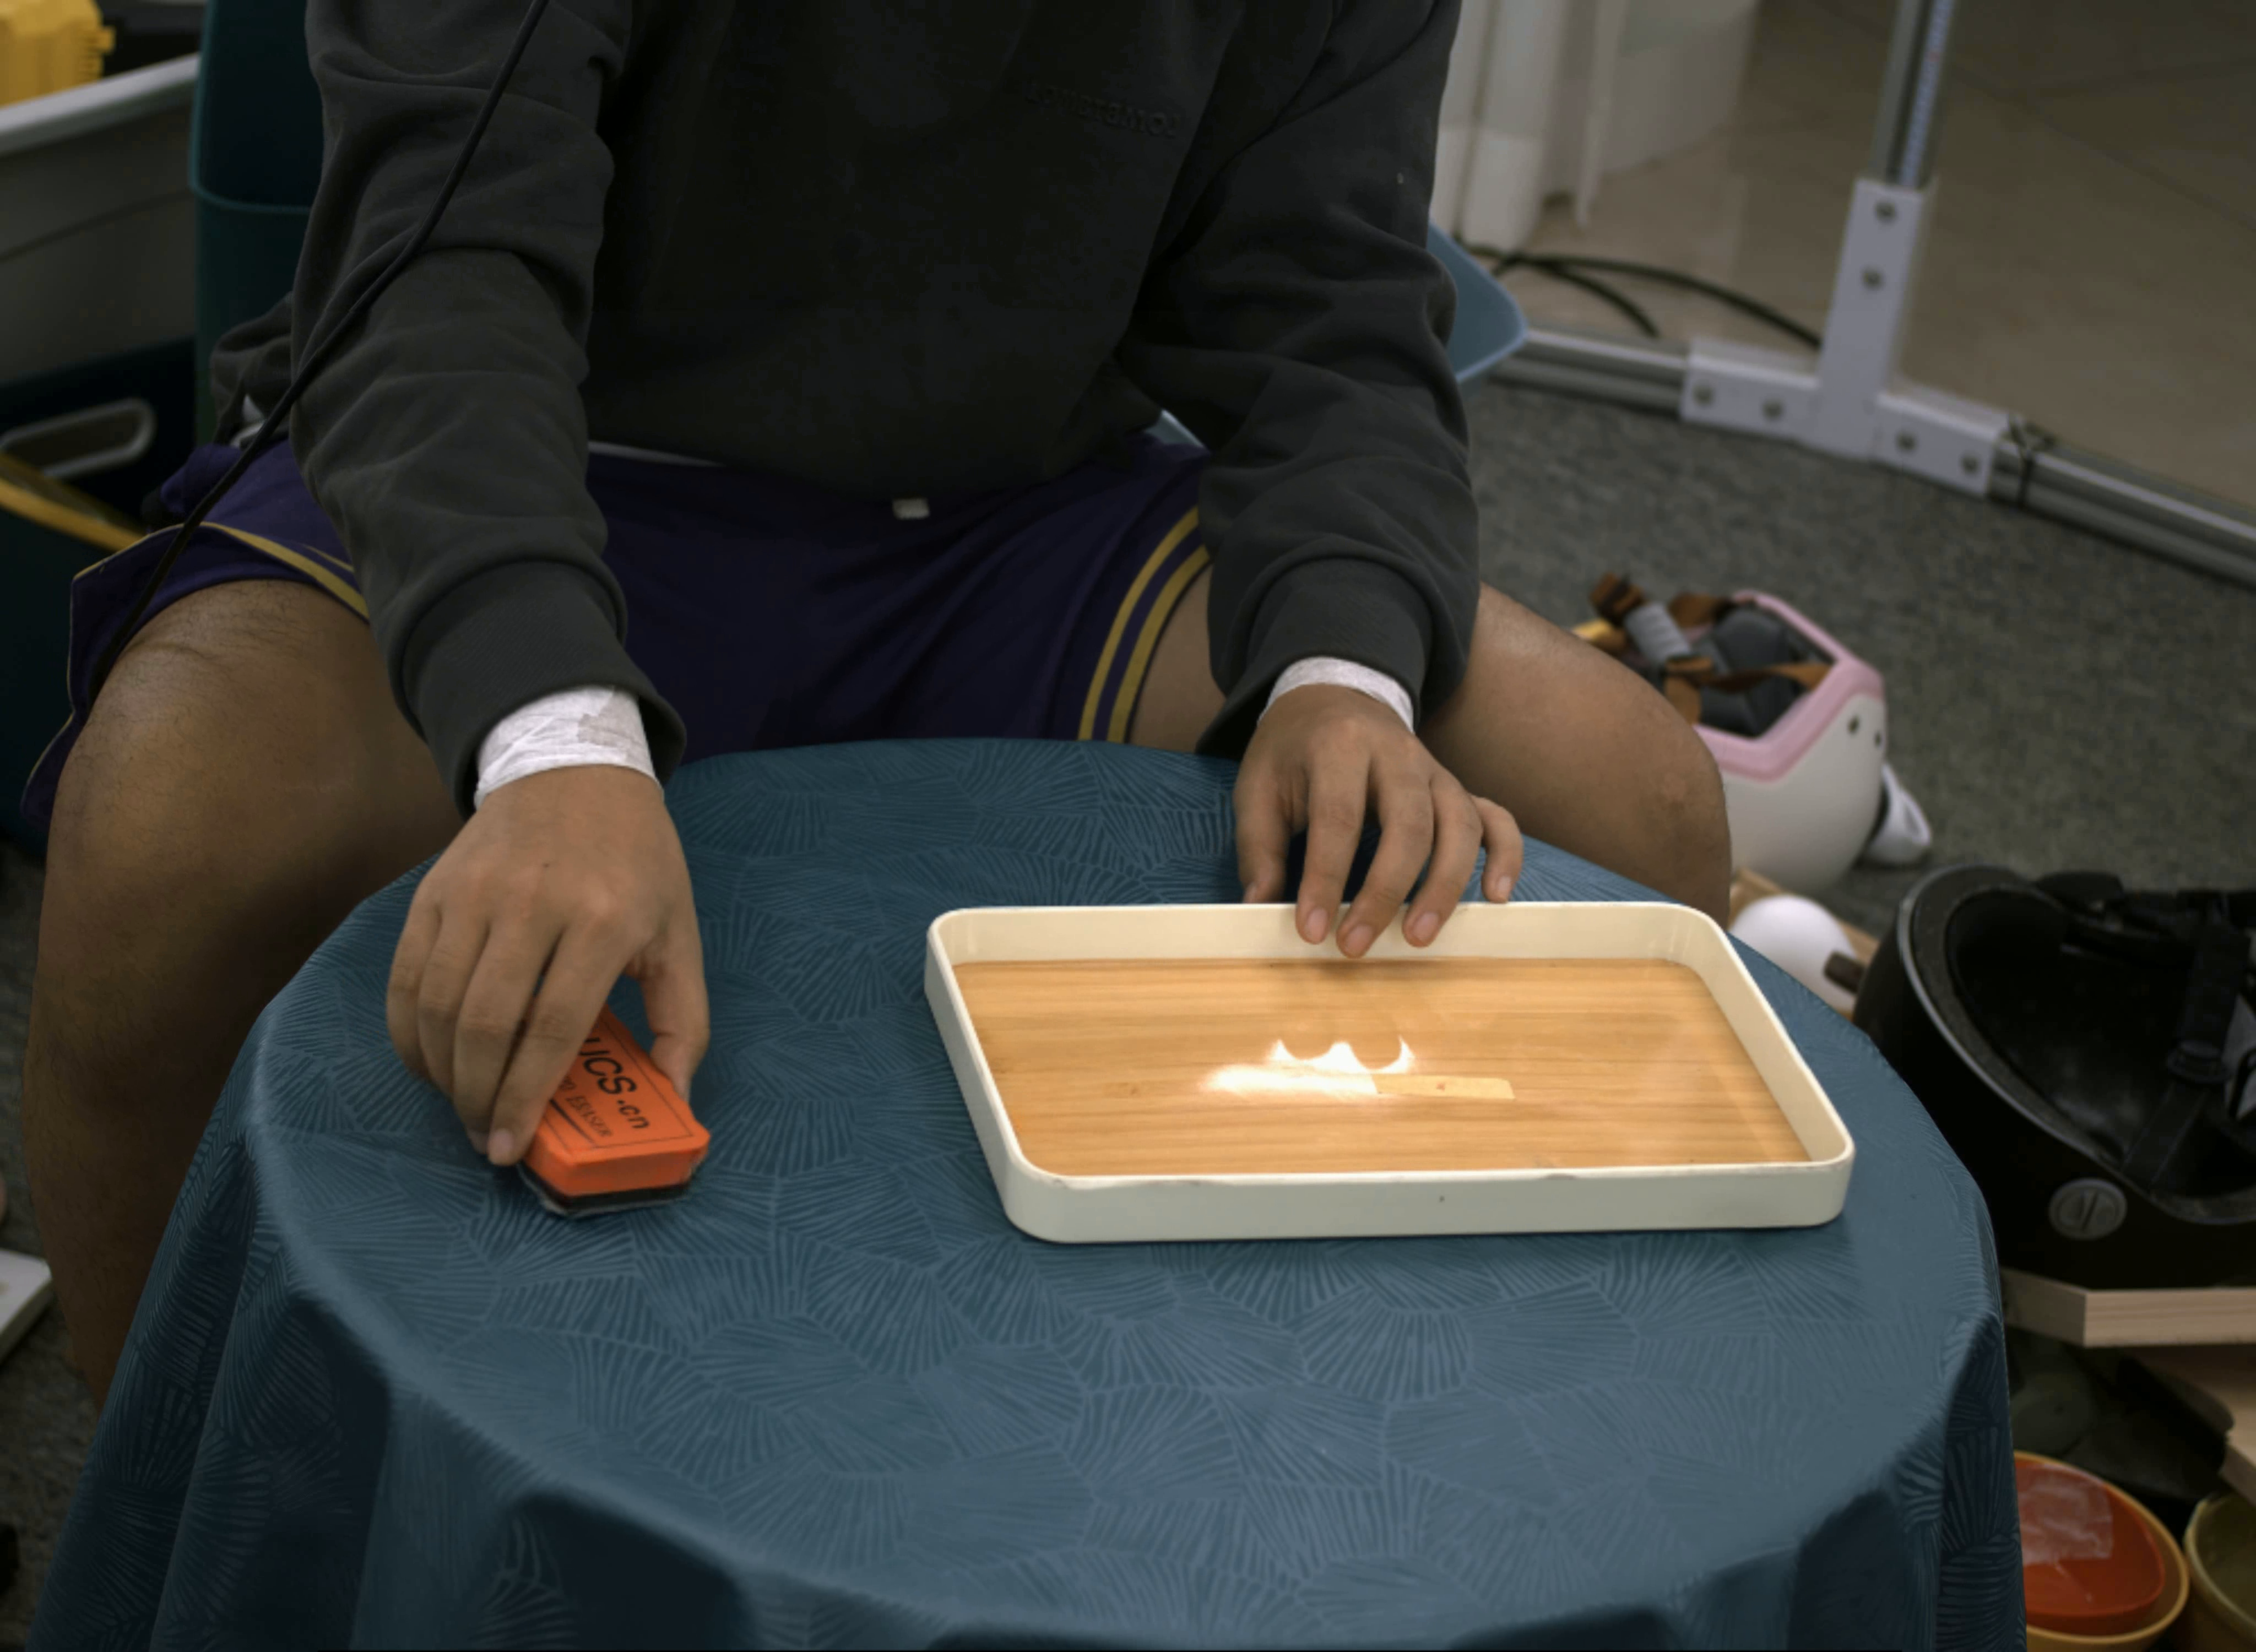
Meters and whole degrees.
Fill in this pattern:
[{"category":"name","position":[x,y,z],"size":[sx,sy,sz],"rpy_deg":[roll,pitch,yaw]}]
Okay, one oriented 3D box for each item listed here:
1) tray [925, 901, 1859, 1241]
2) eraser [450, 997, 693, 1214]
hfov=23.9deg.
[{"category":"tray","position":[0.089,0.084,1.870],"size":[0.298,0.027,0.193],"rpy_deg":[0,28,-13]},{"category":"eraser","position":[-0.188,0.093,1.793],"size":[0.058,0.023,0.109],"rpy_deg":[-5,28,-22]}]
